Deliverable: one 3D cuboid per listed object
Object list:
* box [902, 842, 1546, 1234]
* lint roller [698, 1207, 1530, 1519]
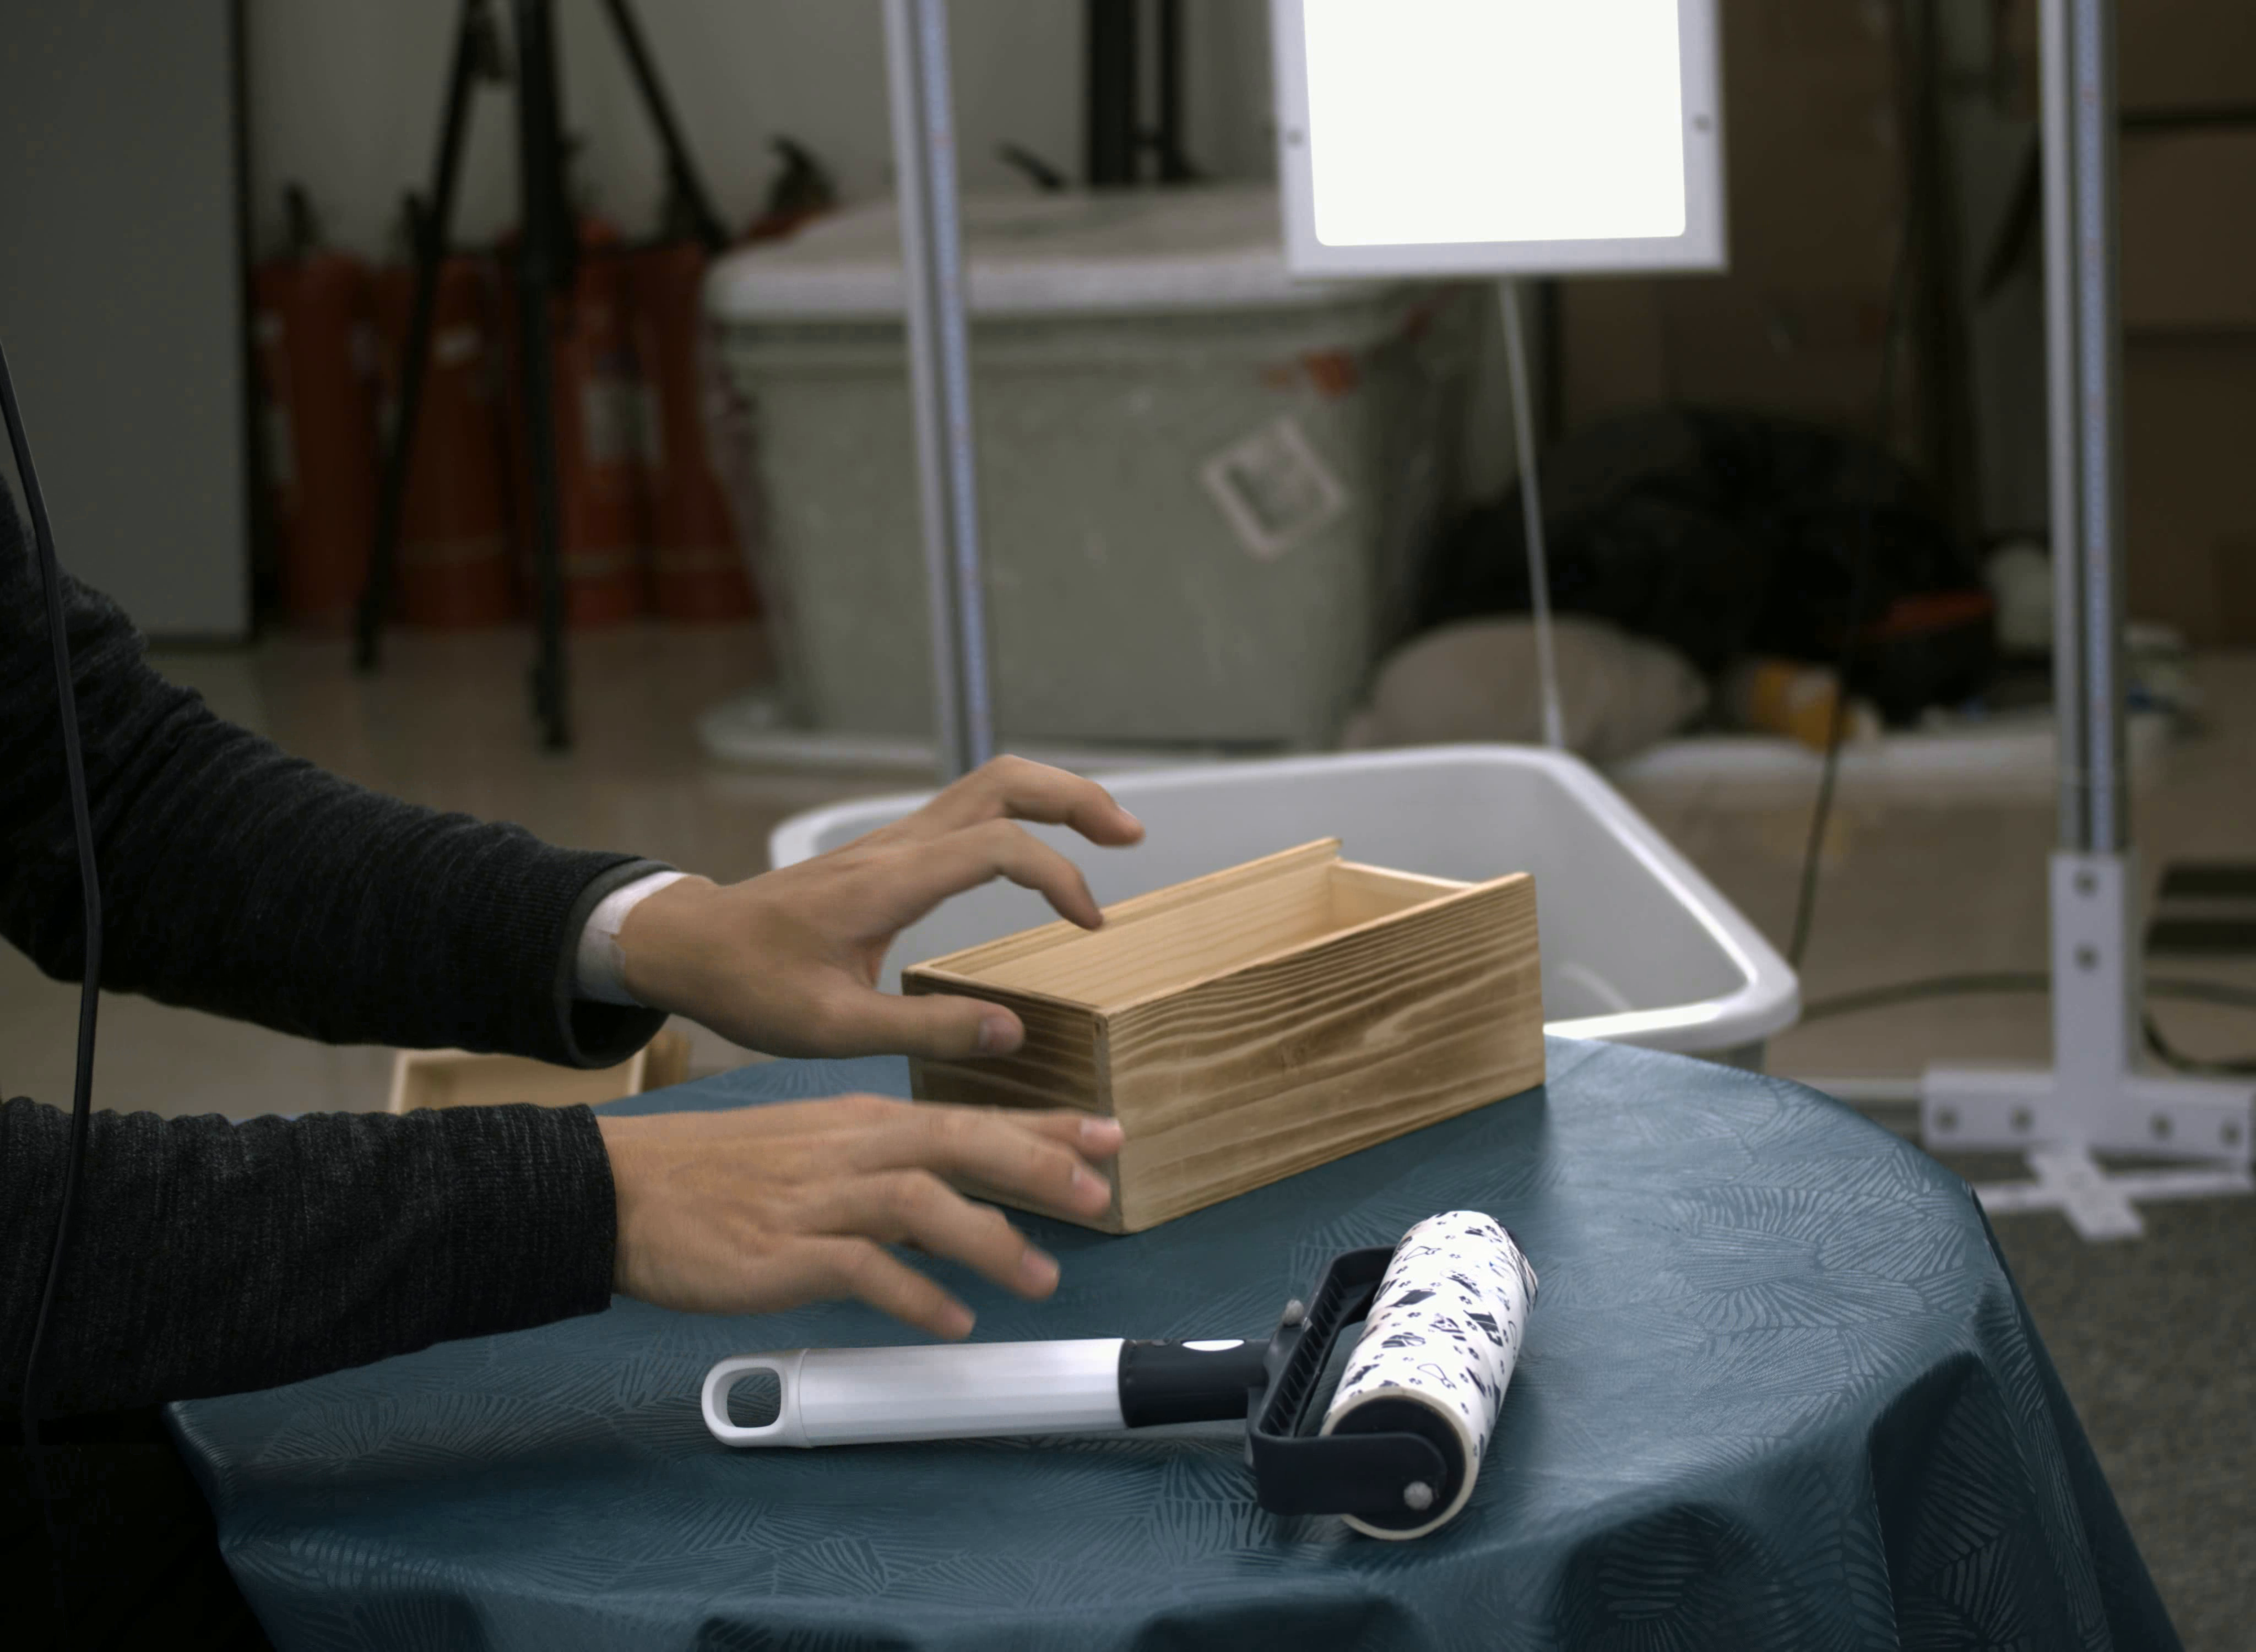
[{"bbox_3d":[0.036,0.072,1.942,0.206,0.080,0.110,-17,18,-39],"label":"box"},{"bbox_3d":[-0.019,0.154,1.669,0.251,0.050,0.173,2,14,23],"label":"lint roller"}]
